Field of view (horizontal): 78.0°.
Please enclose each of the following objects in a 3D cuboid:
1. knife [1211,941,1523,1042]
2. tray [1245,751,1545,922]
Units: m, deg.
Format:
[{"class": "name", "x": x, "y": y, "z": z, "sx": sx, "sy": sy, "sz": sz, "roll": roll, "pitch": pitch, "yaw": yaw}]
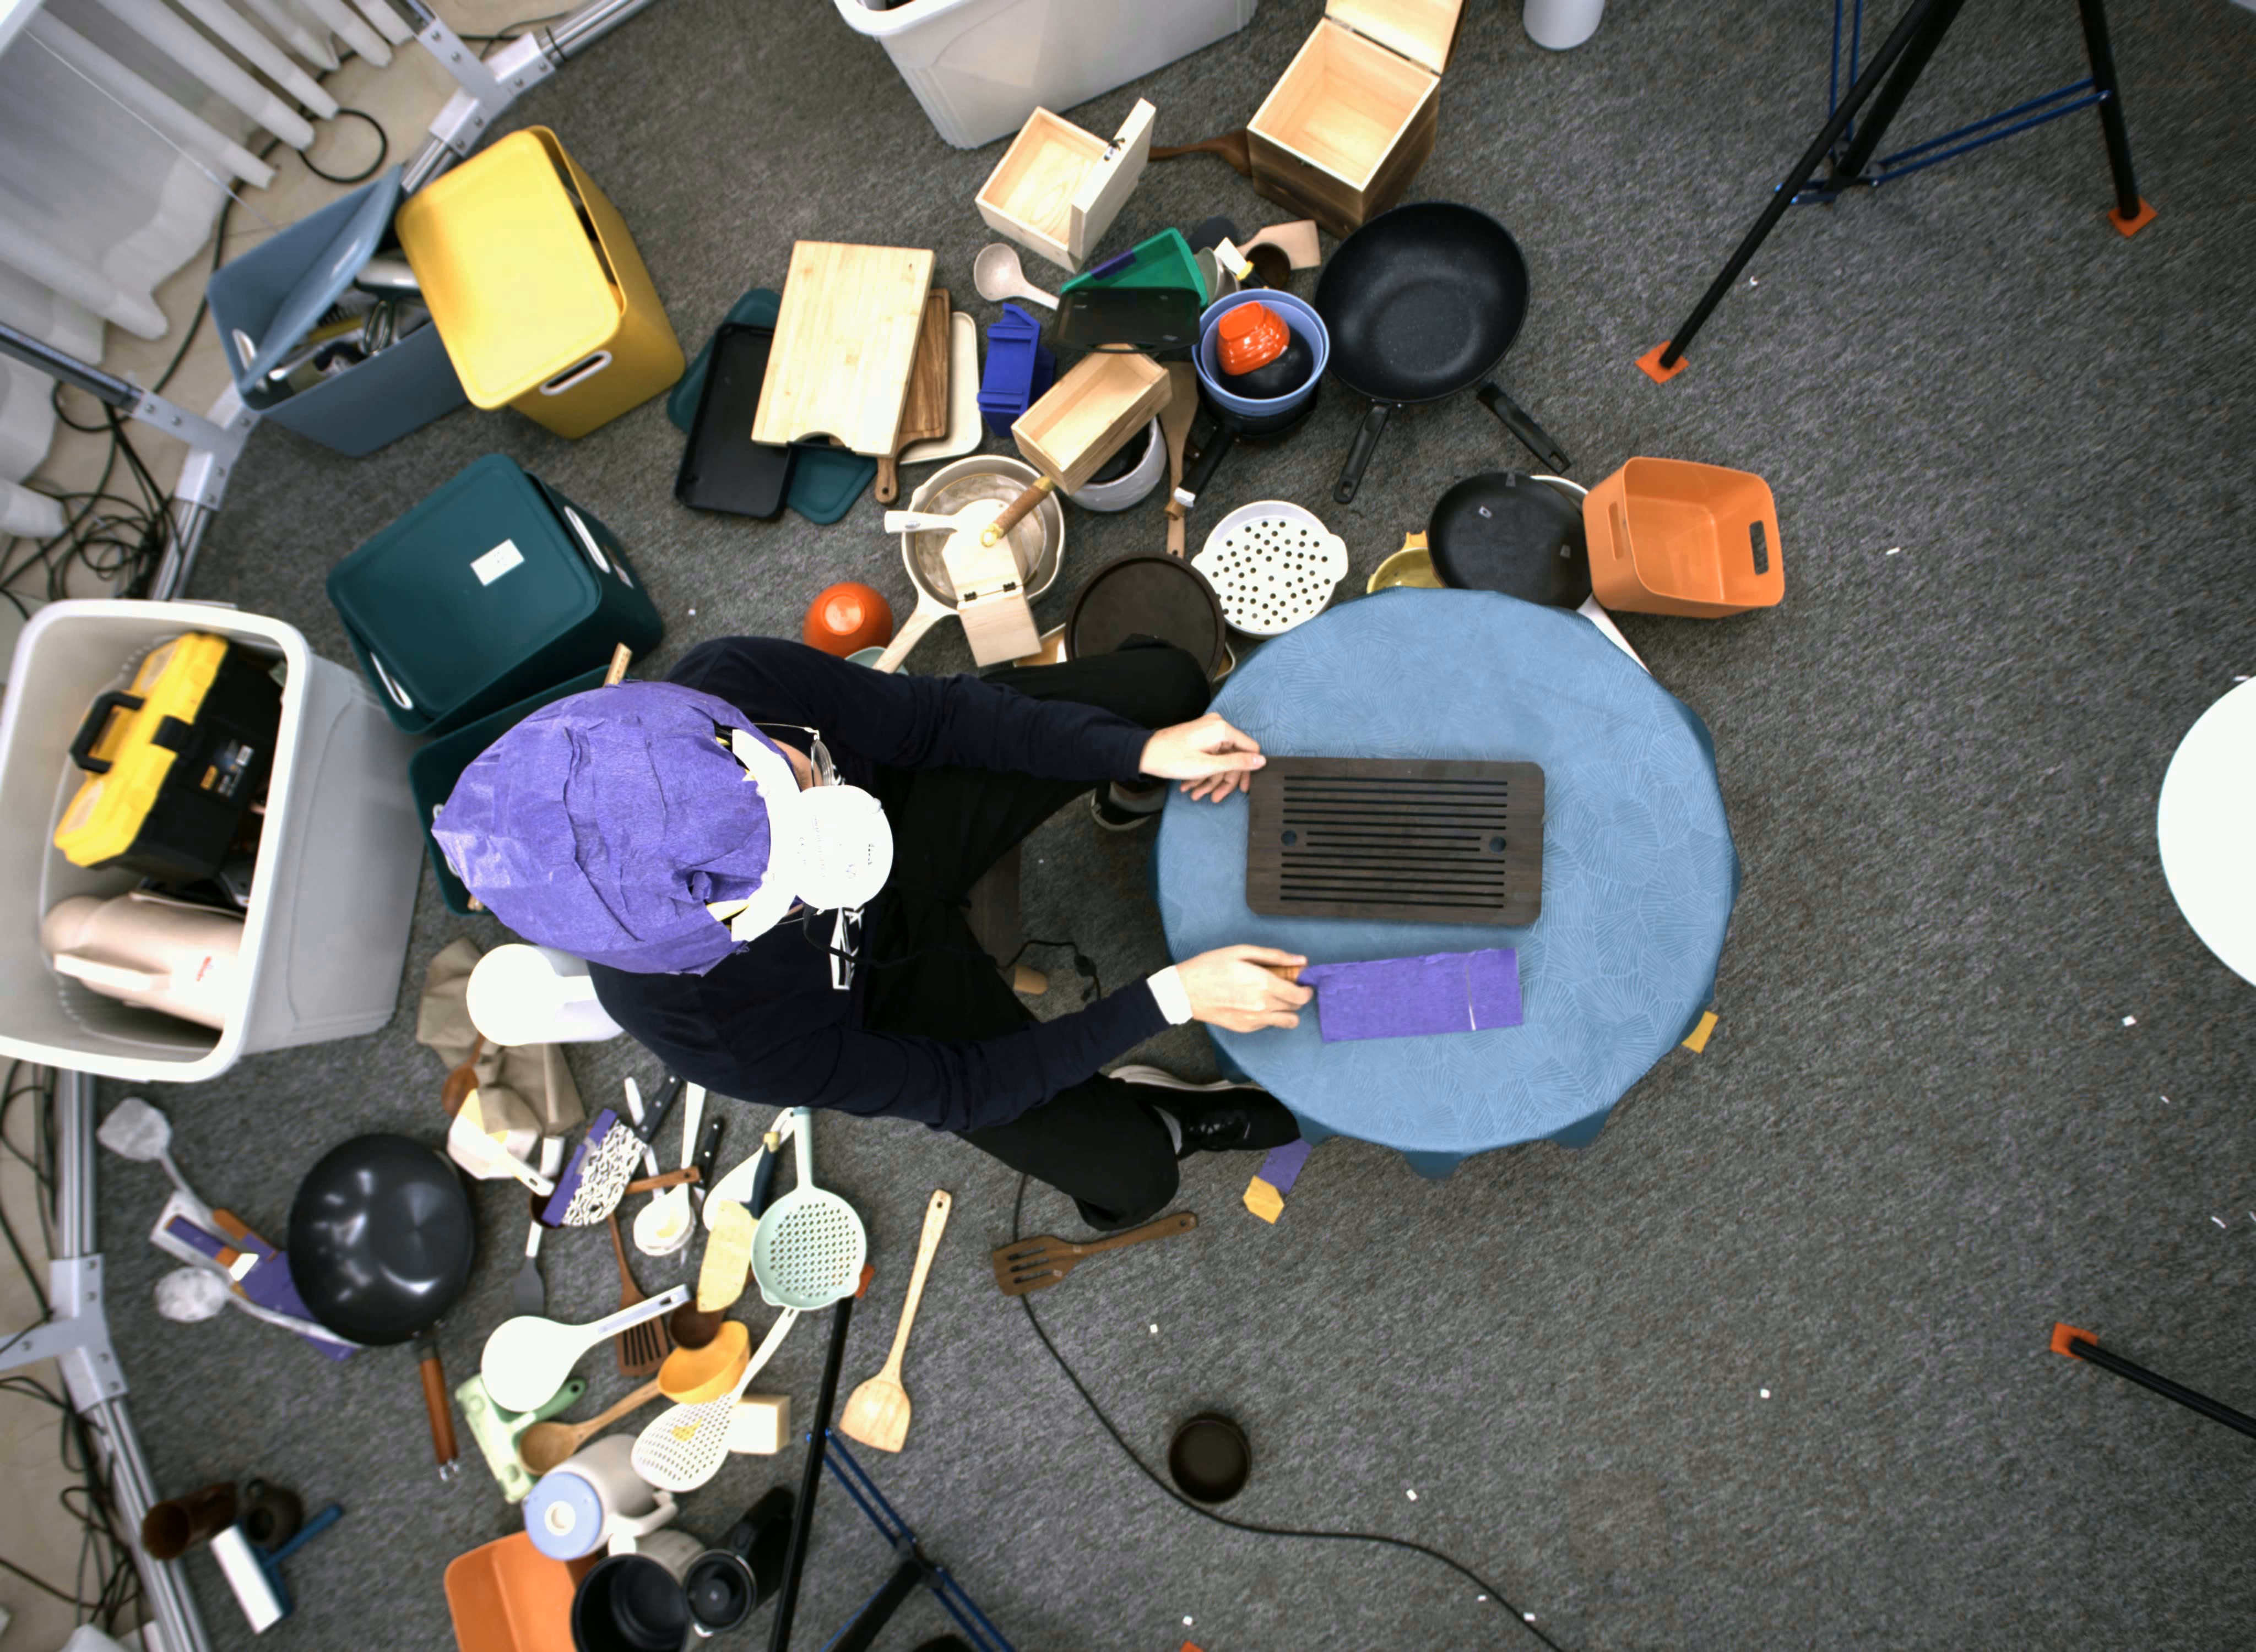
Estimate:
[{"class": "knife", "x": 0.247, "y": 0.179, "z": 1.431, "sx": 0.317, "sy": 0.031, "sz": 0.105, "roll": -6, "pitch": 112, "yaw": 13}, {"class": "tray", "x": 0.278, "y": 0.008, "z": 1.445, "sx": 0.307, "sy": 0.018, "sz": 0.170, "roll": 2, "pitch": 92, "yaw": 11}]
